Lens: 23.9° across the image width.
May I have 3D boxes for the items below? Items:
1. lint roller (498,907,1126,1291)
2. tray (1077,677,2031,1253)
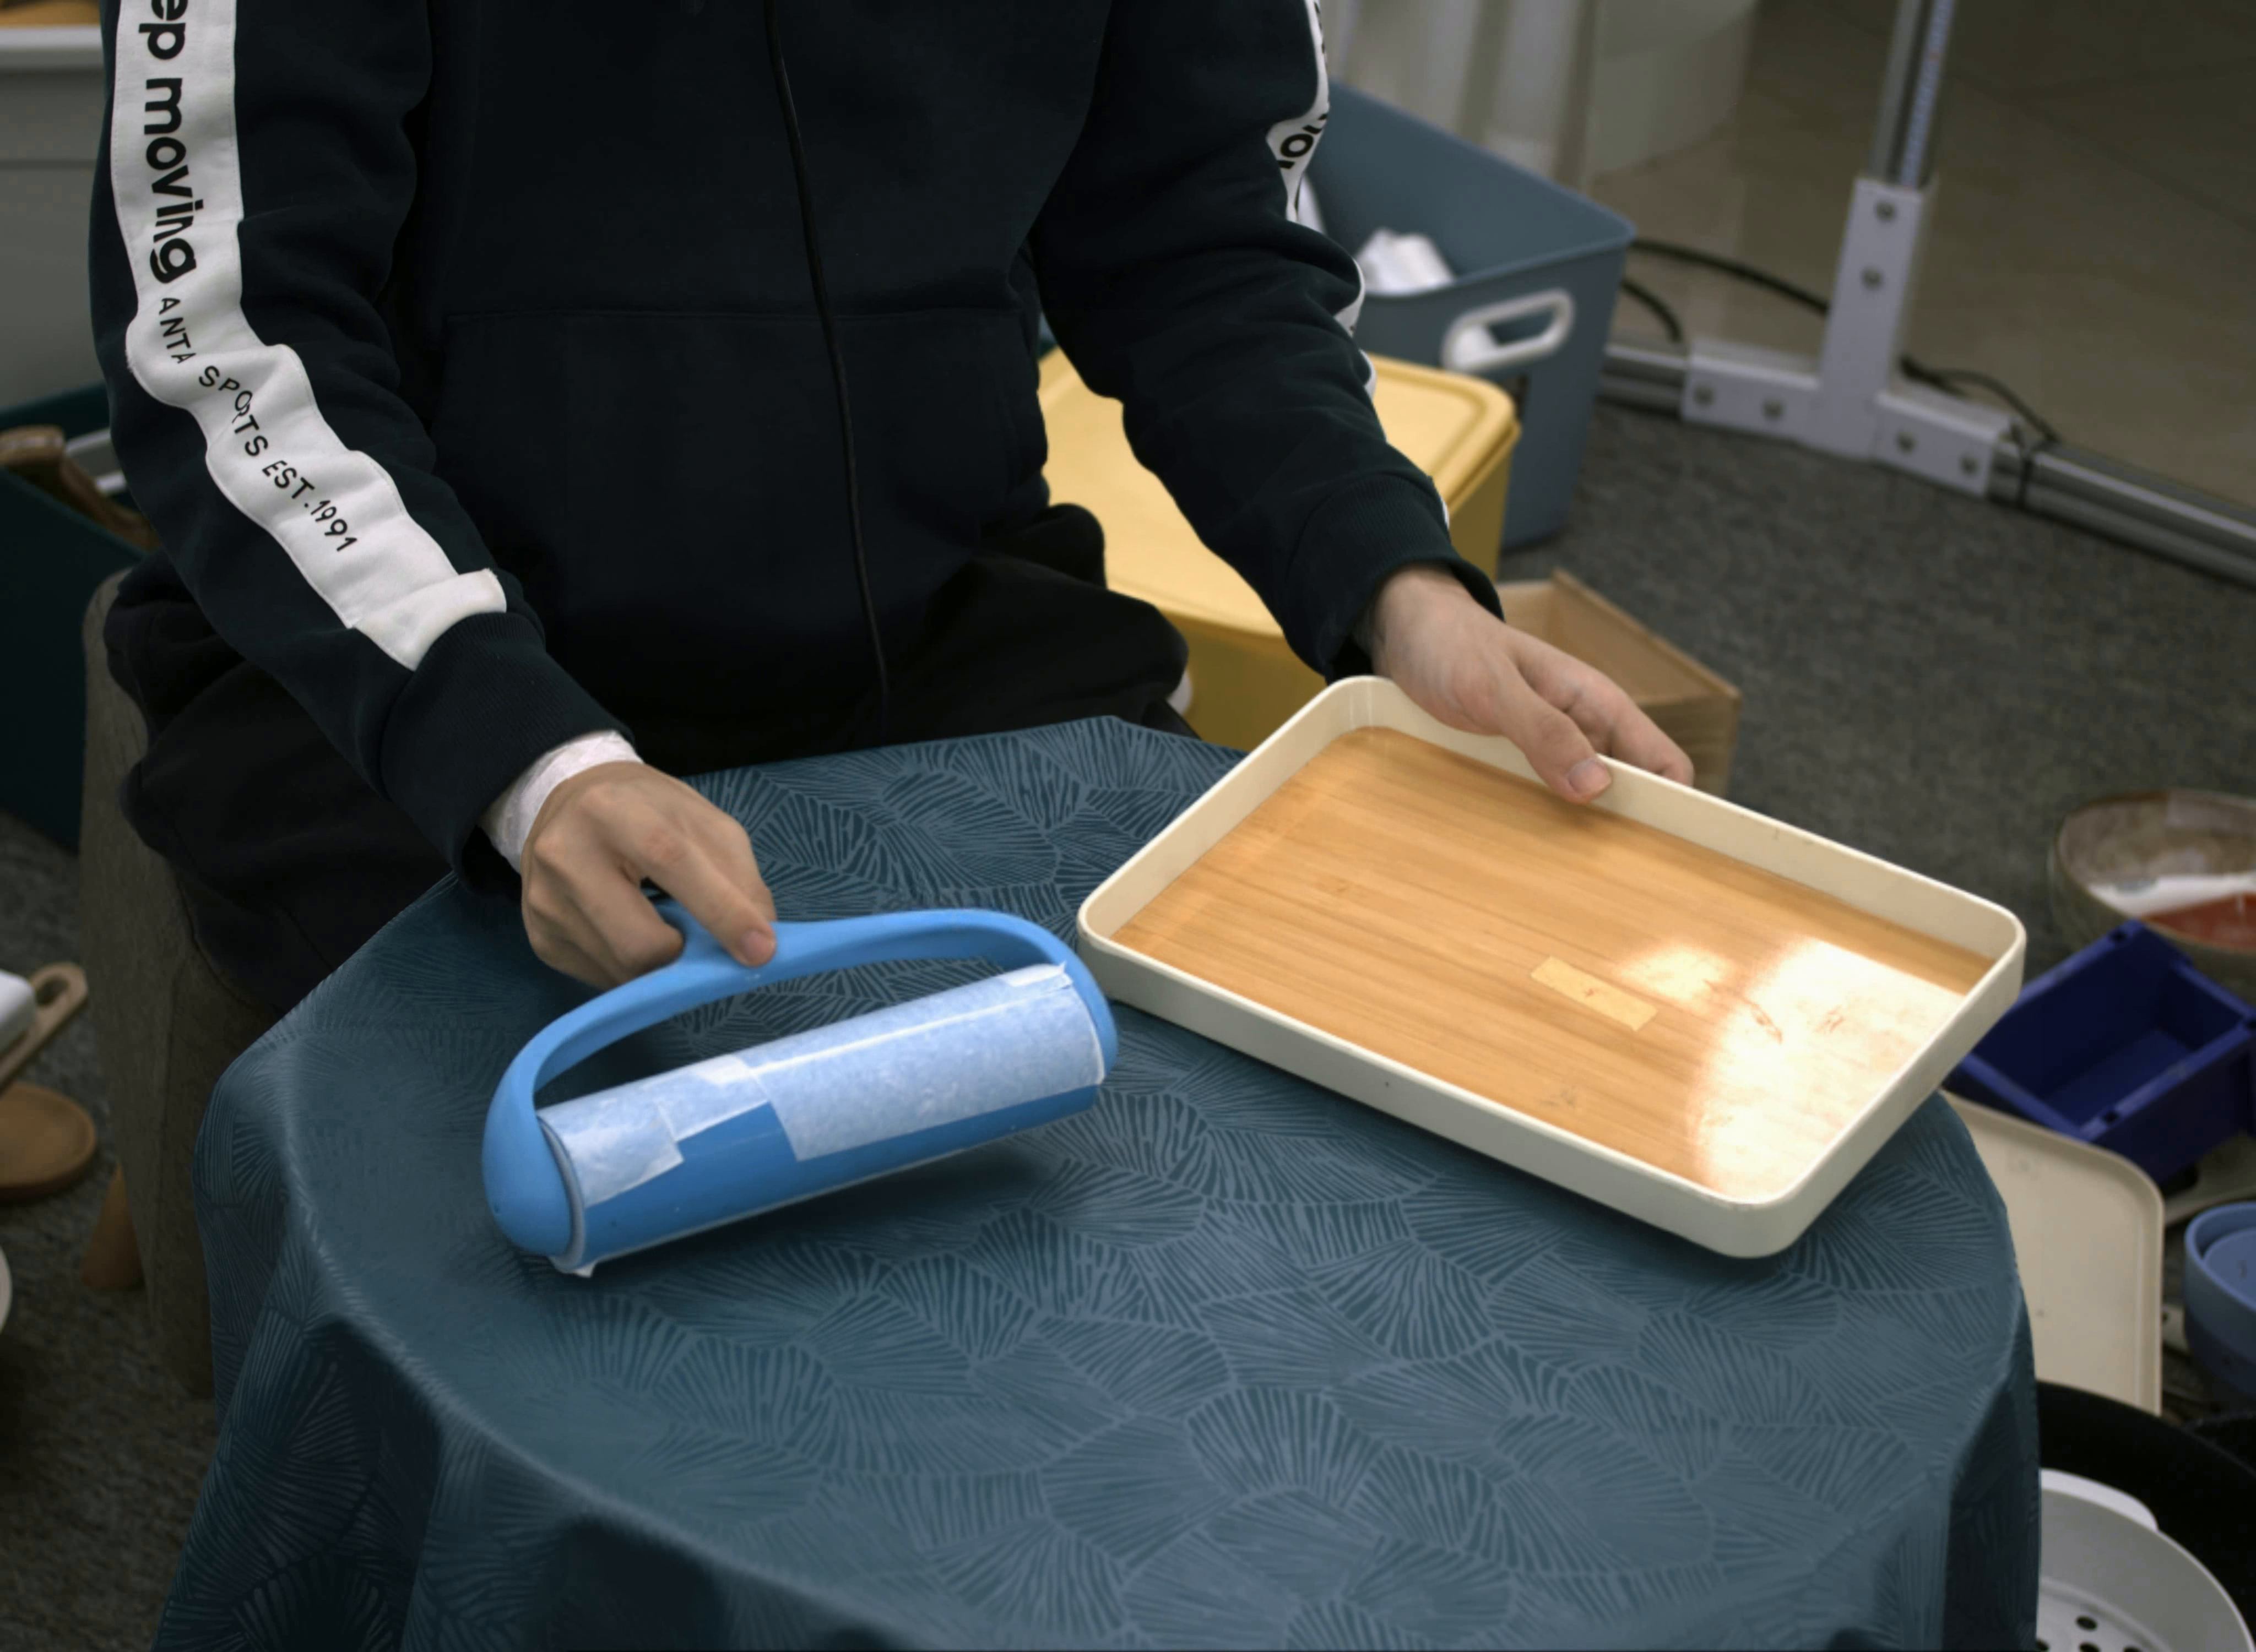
[{"bbox_3d":[-0.134,0.066,1.788,0.228,0.067,0.182,-21,43,-28],"label":"lint roller"},{"bbox_3d":[0.150,0.044,1.901,0.302,0.027,0.191,22,44,32],"label":"tray"}]
